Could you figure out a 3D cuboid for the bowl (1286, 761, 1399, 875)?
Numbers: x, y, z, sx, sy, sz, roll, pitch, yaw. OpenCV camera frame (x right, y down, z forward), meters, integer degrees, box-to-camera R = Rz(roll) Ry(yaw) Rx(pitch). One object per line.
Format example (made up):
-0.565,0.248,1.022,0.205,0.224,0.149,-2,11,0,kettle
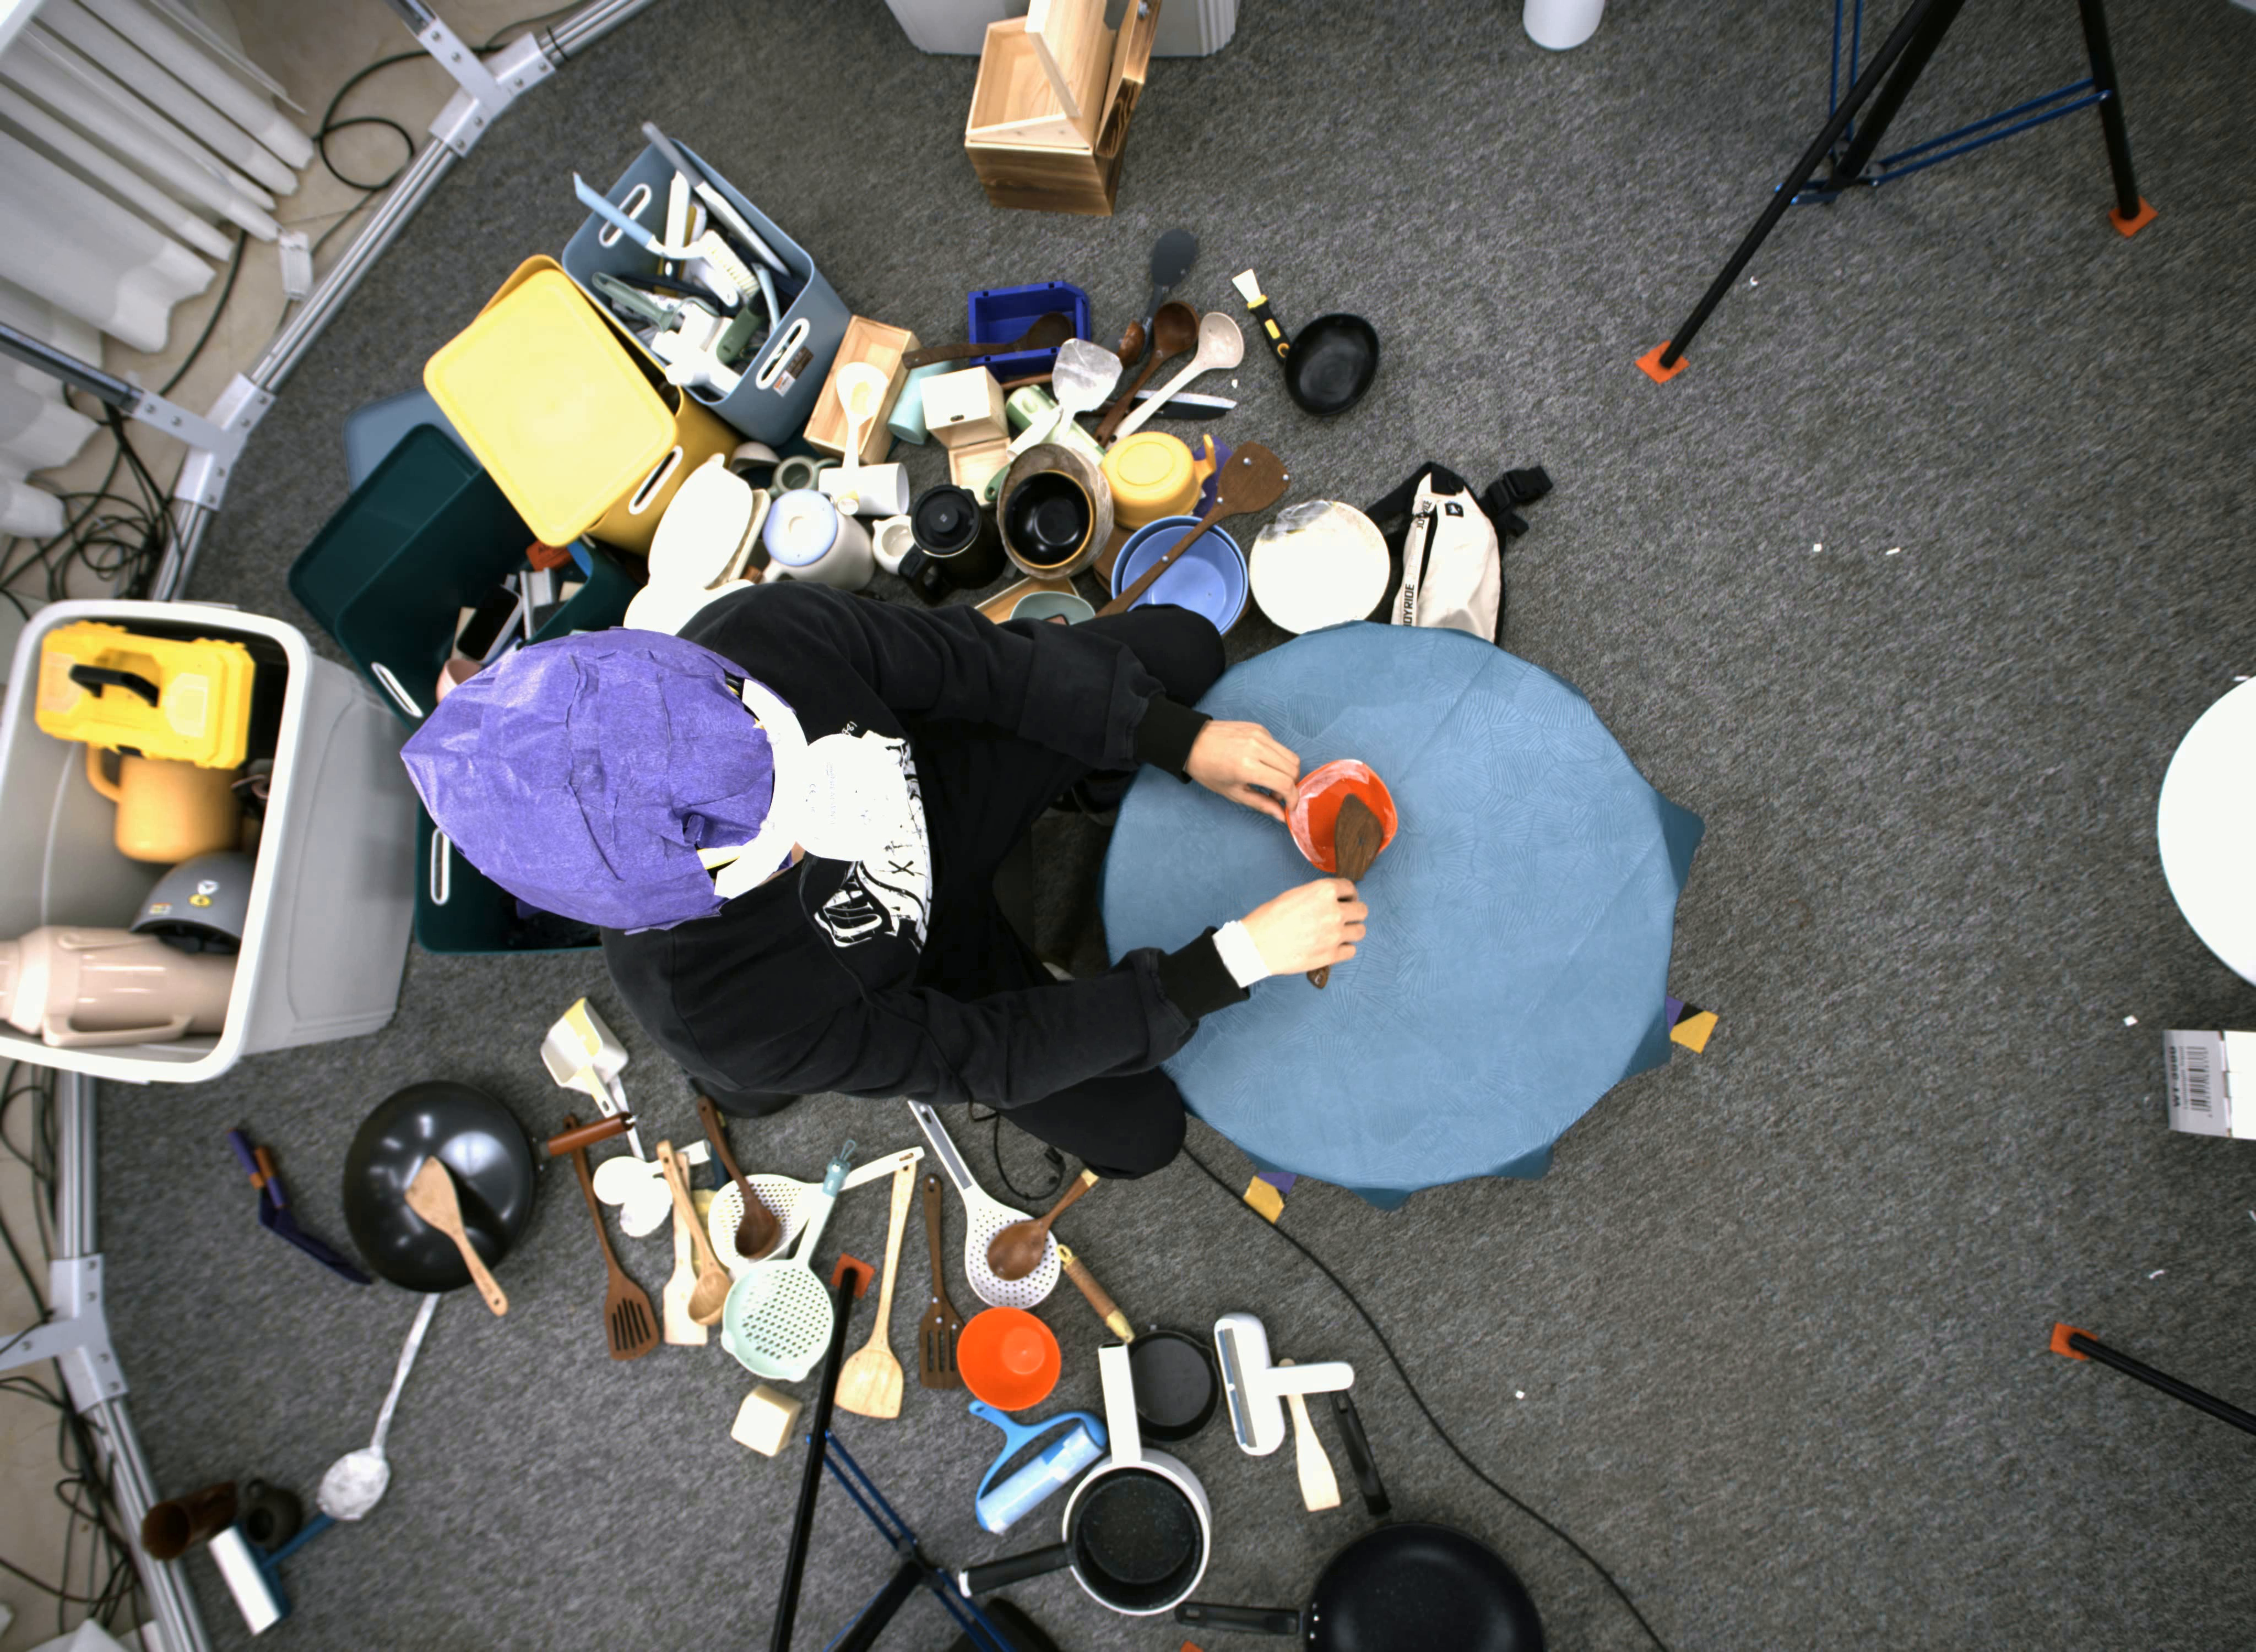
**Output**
0.220,-0.011,1.446,0.119,0.051,0.119,0,97,-4,bowl

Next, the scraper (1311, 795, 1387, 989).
0.215,0.066,1.372,0.011,0.076,0.206,-10,48,43,scraper
